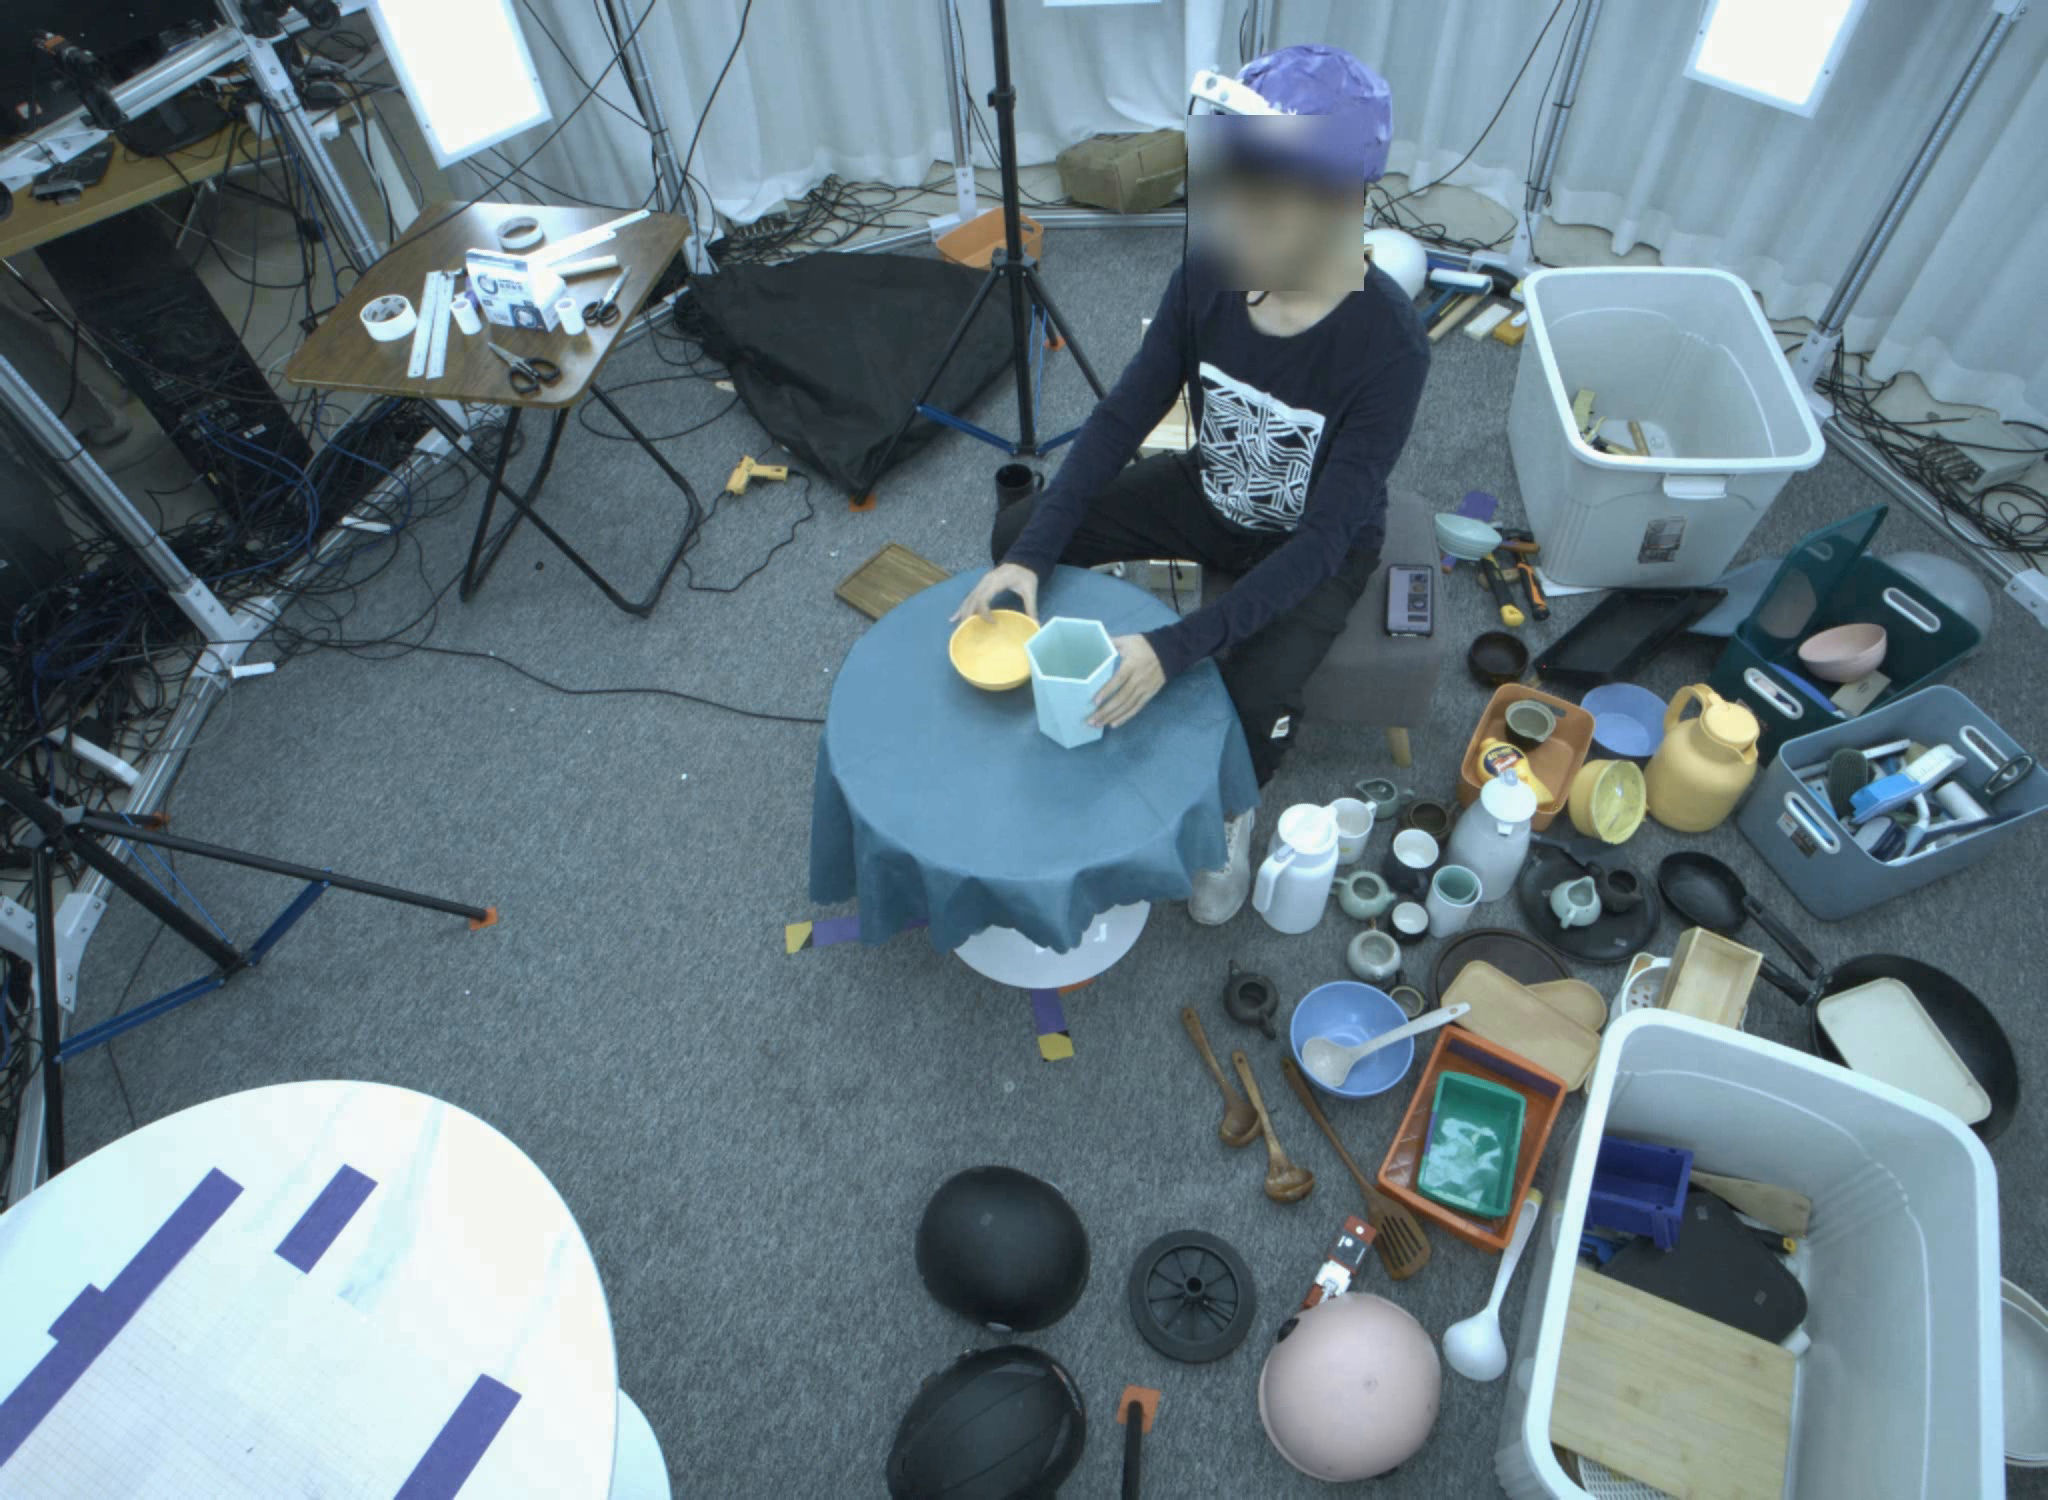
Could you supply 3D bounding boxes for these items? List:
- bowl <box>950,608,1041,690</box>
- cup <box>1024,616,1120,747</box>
[{"bbox_3d":[-0.039,-0.140,1.847,0.145,0.060,0.144,1,56,0],"label":"bowl"},{"bbox_3d":[0.067,-0.091,1.742,0.116,0.164,0.129,-20,57,-13],"label":"cup"}]
